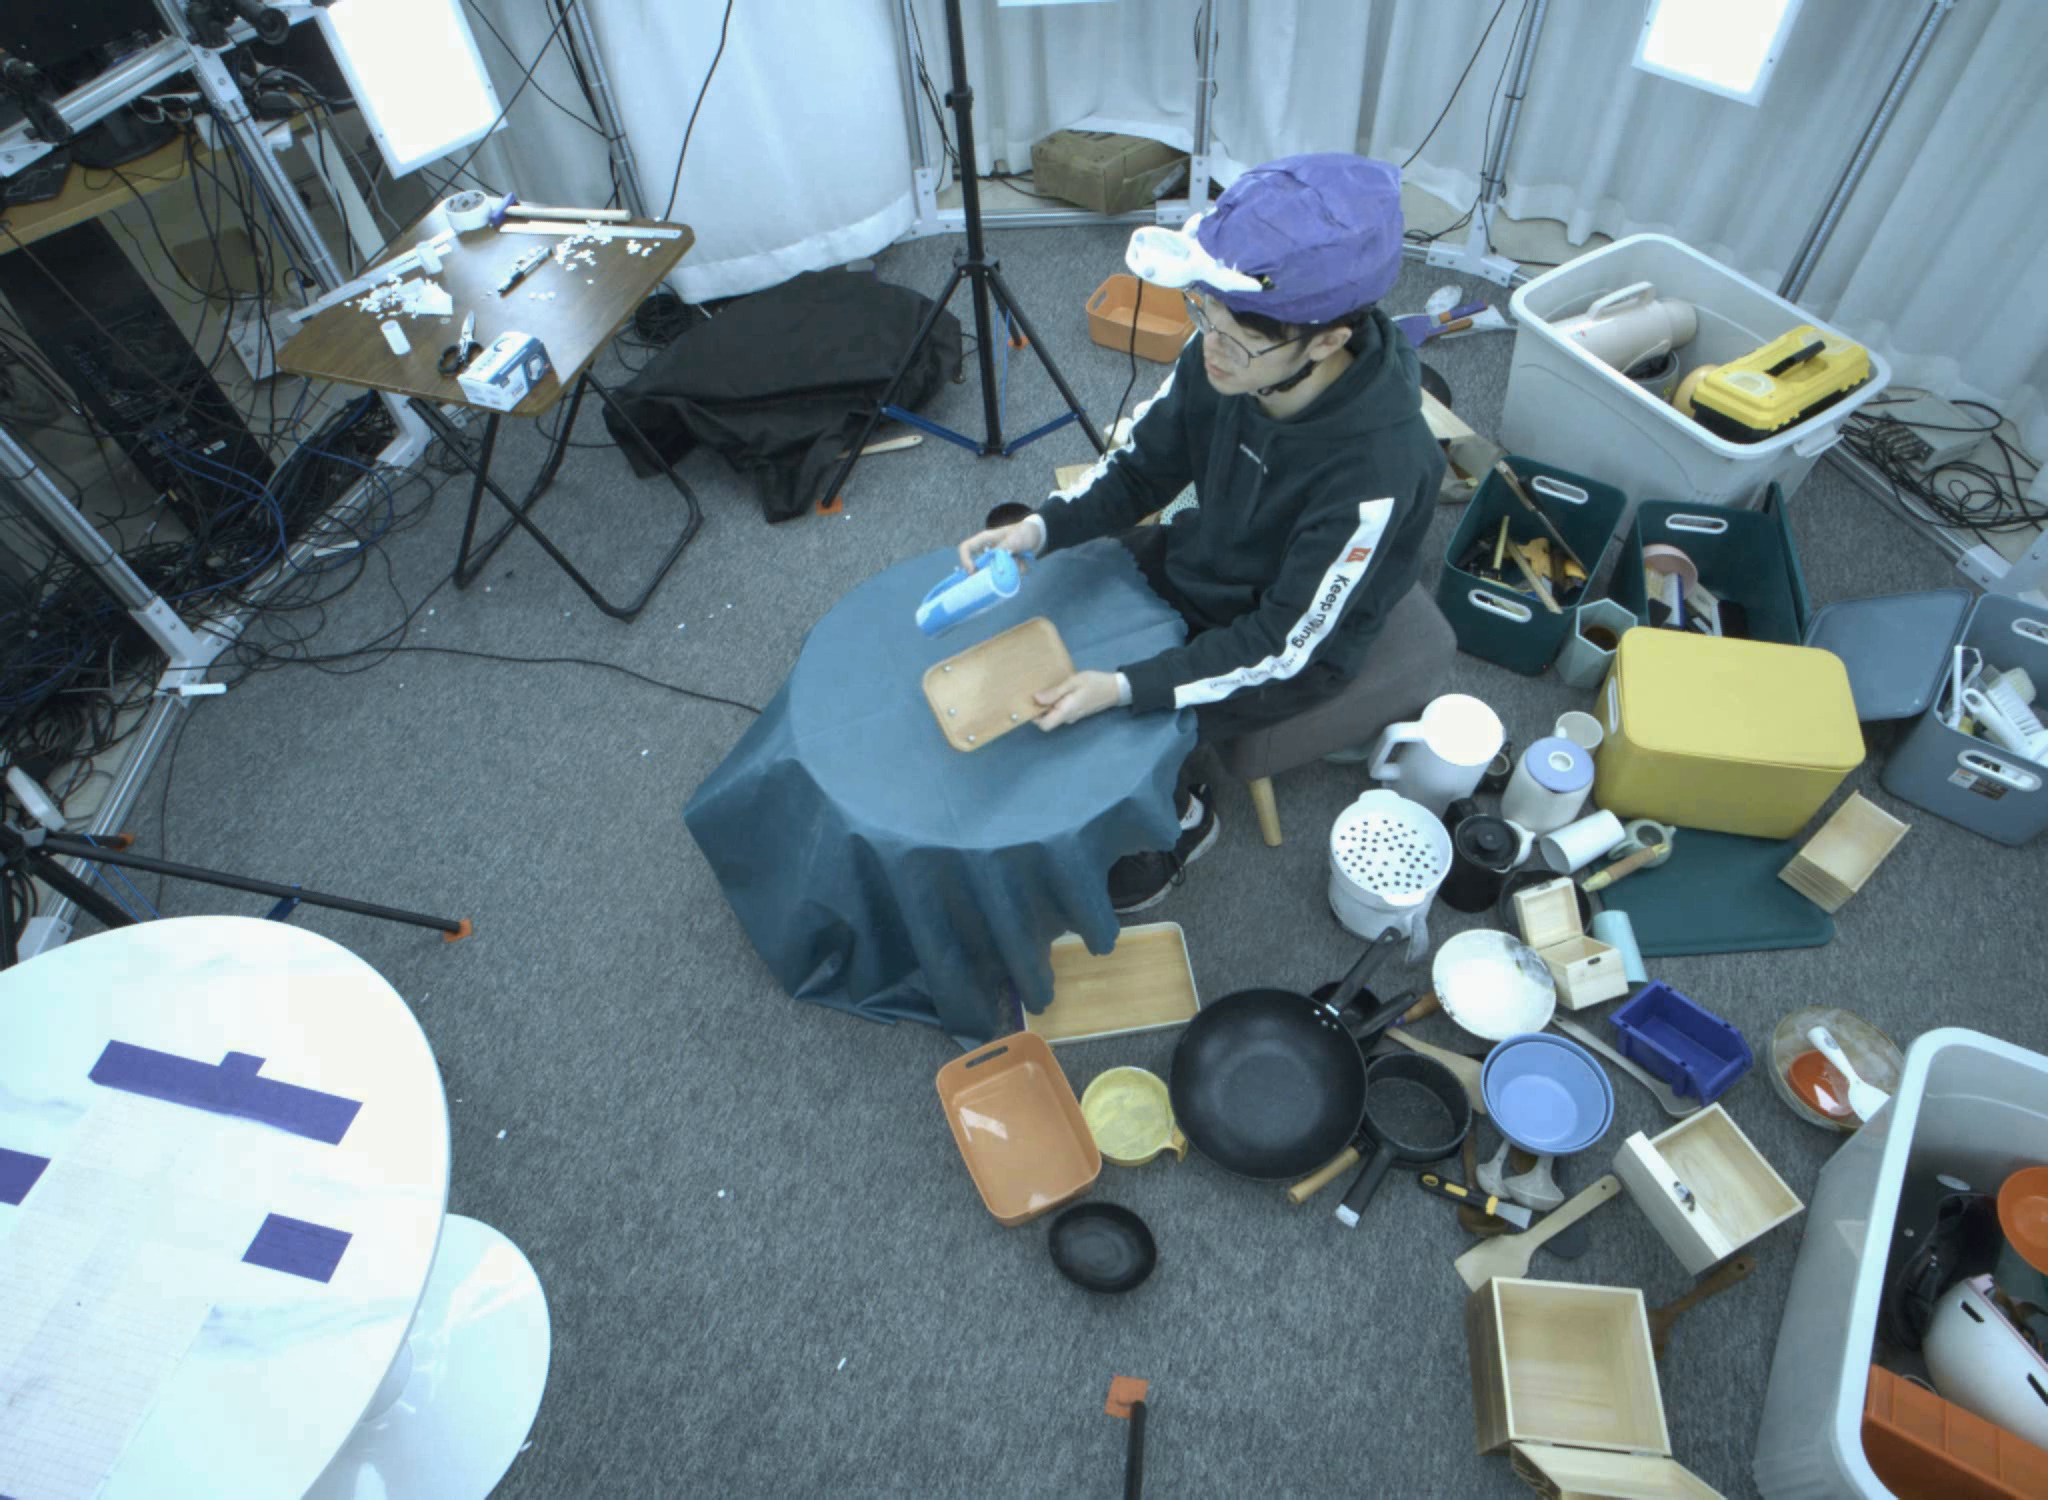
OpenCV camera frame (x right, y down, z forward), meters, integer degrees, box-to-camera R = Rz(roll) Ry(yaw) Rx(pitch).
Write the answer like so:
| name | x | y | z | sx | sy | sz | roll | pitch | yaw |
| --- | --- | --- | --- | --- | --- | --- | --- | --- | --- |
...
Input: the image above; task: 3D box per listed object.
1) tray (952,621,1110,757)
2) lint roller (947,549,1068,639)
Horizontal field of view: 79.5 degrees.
| name | x | y | z | sx | sy | sz | roll | pitch | yaw |
| --- | --- | --- | --- | --- | --- | --- | --- | --- | --- |
| tray | 0.012 | -0.087 | 1.719 | 0.254 | 0.022 | 0.131 | -28 | 100 | -36 |
| lint roller | -0.007 | -0.247 | 1.765 | 0.068 | 0.225 | 0.181 | 50 | 52 | -13 |
